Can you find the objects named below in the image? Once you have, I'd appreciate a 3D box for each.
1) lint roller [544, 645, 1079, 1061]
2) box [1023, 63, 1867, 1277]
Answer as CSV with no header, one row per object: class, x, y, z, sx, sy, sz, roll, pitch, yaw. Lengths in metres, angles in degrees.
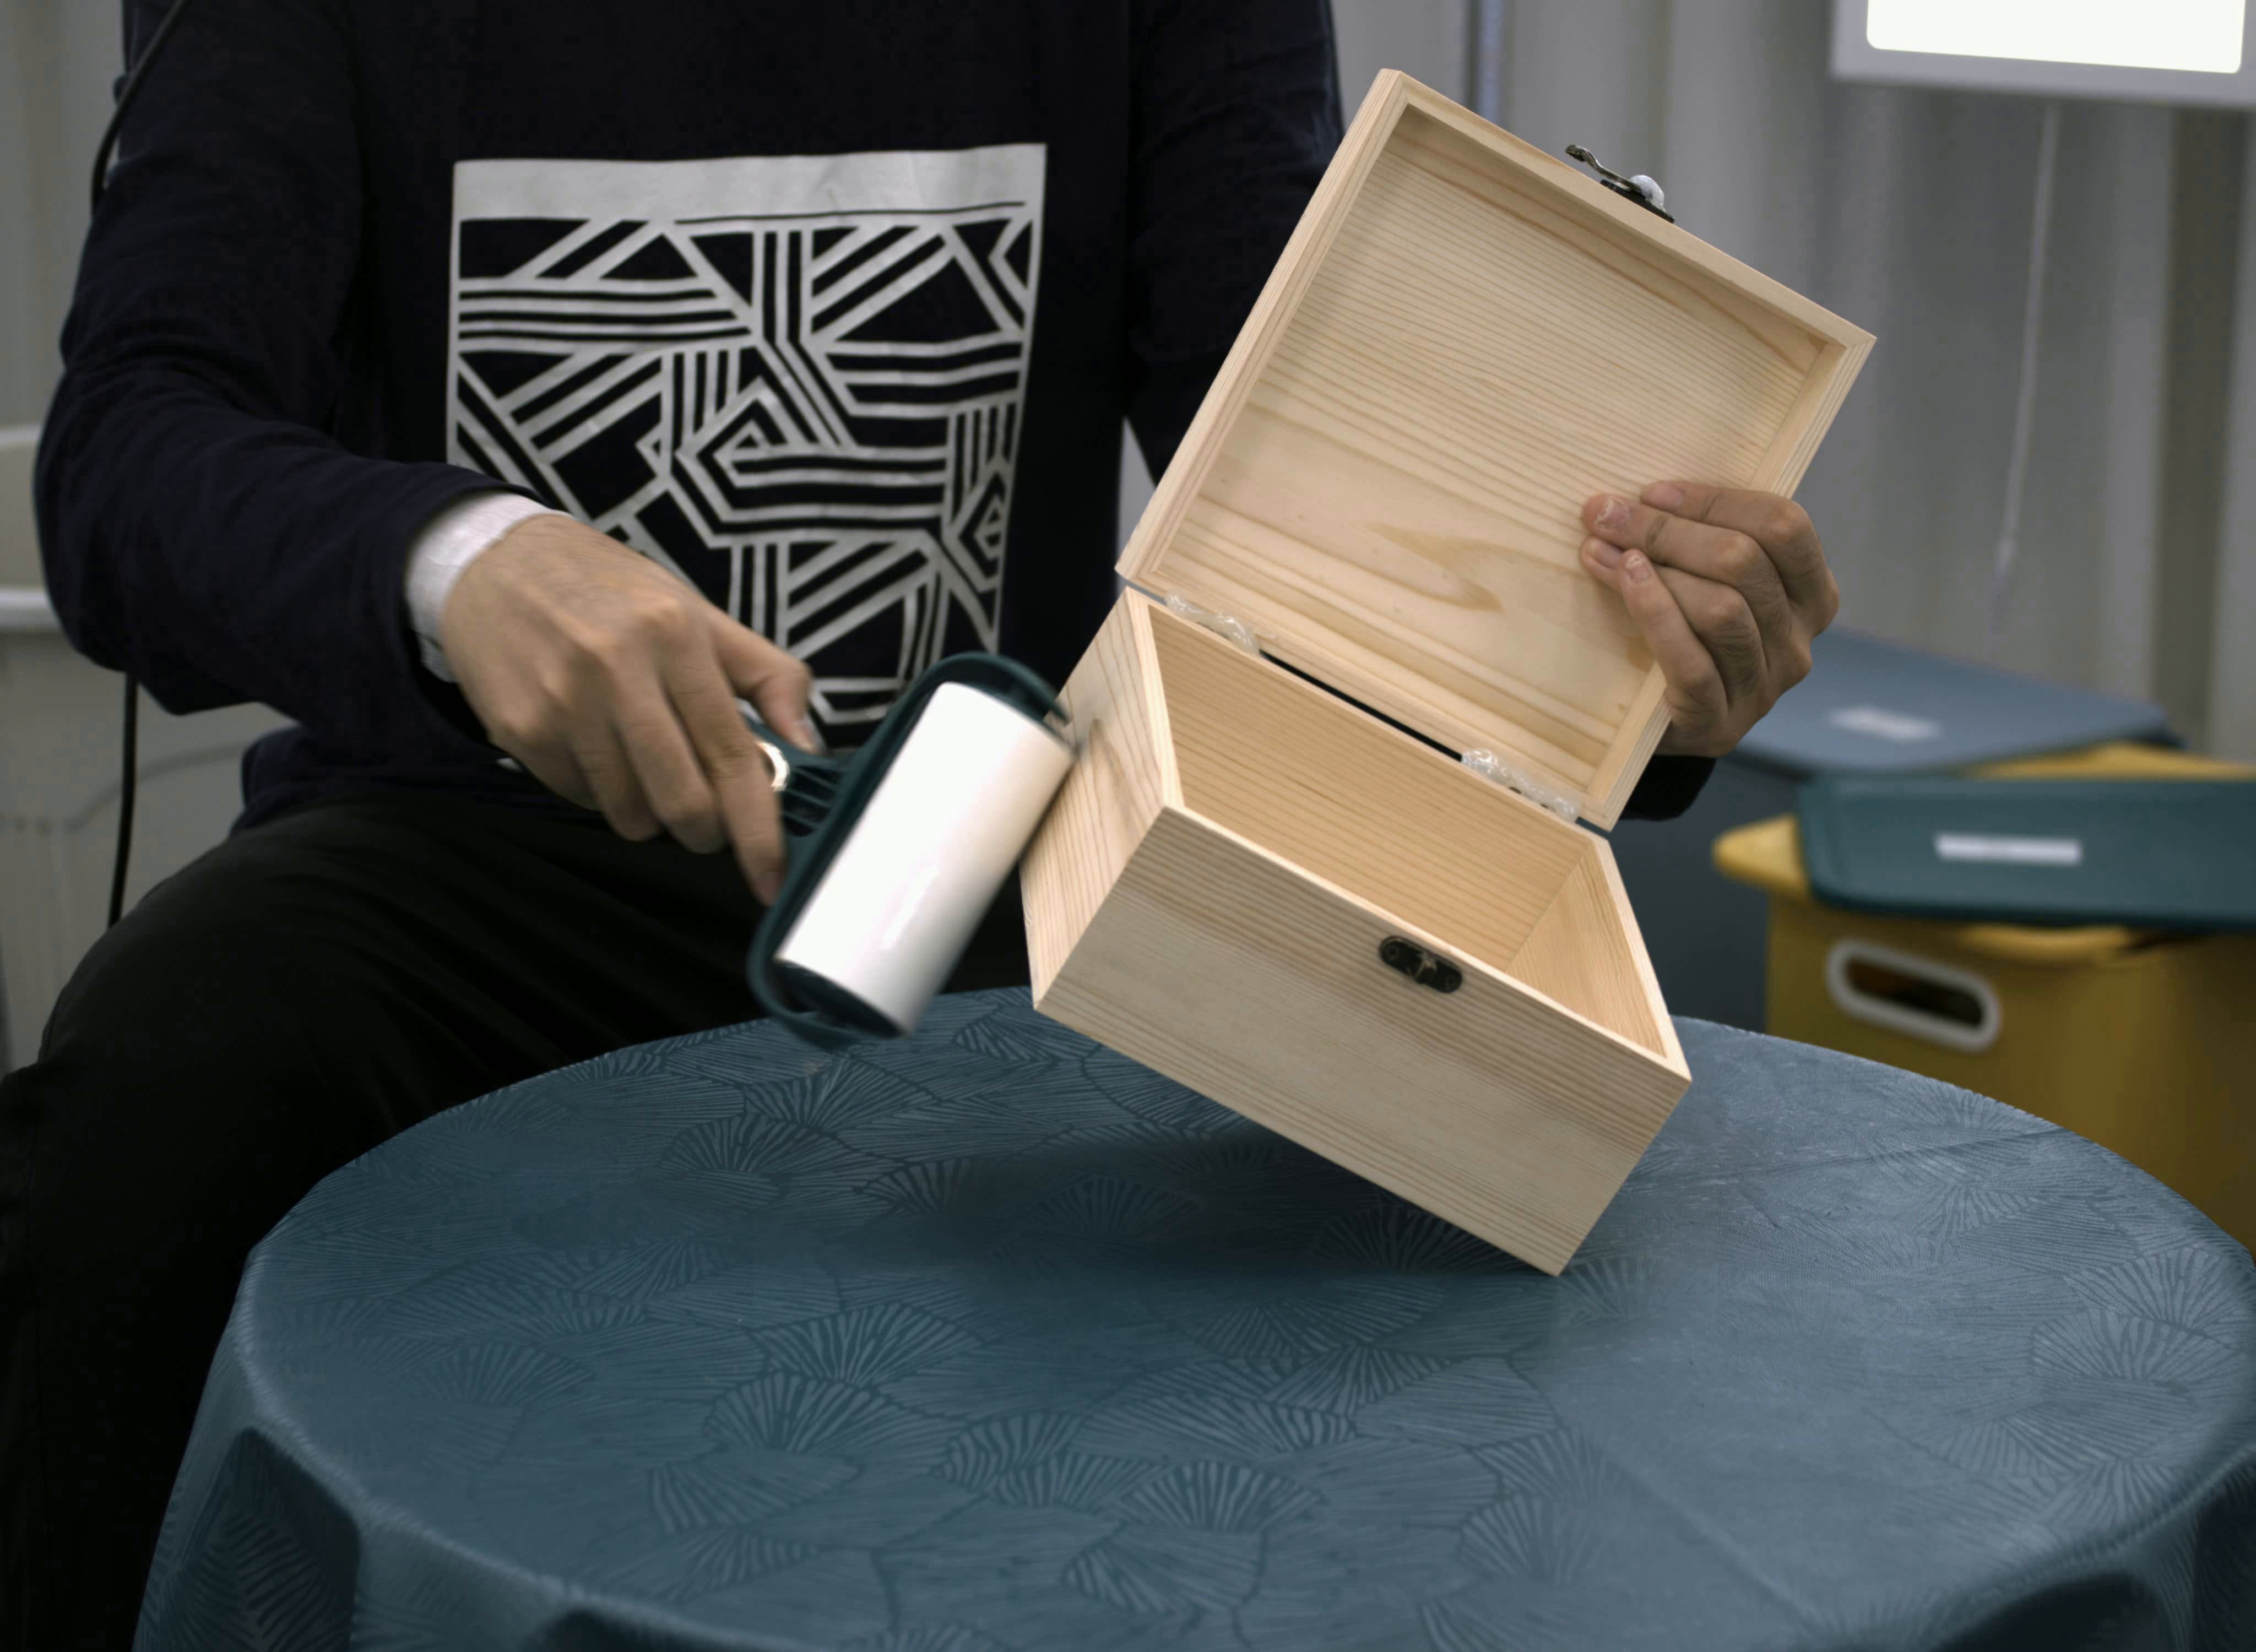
lint roller,-0.113,-0.017,1.610,0.178,0.134,0.049,24,-9,22
box,0.106,-0.055,1.605,0.182,0.254,0.263,26,19,-14
